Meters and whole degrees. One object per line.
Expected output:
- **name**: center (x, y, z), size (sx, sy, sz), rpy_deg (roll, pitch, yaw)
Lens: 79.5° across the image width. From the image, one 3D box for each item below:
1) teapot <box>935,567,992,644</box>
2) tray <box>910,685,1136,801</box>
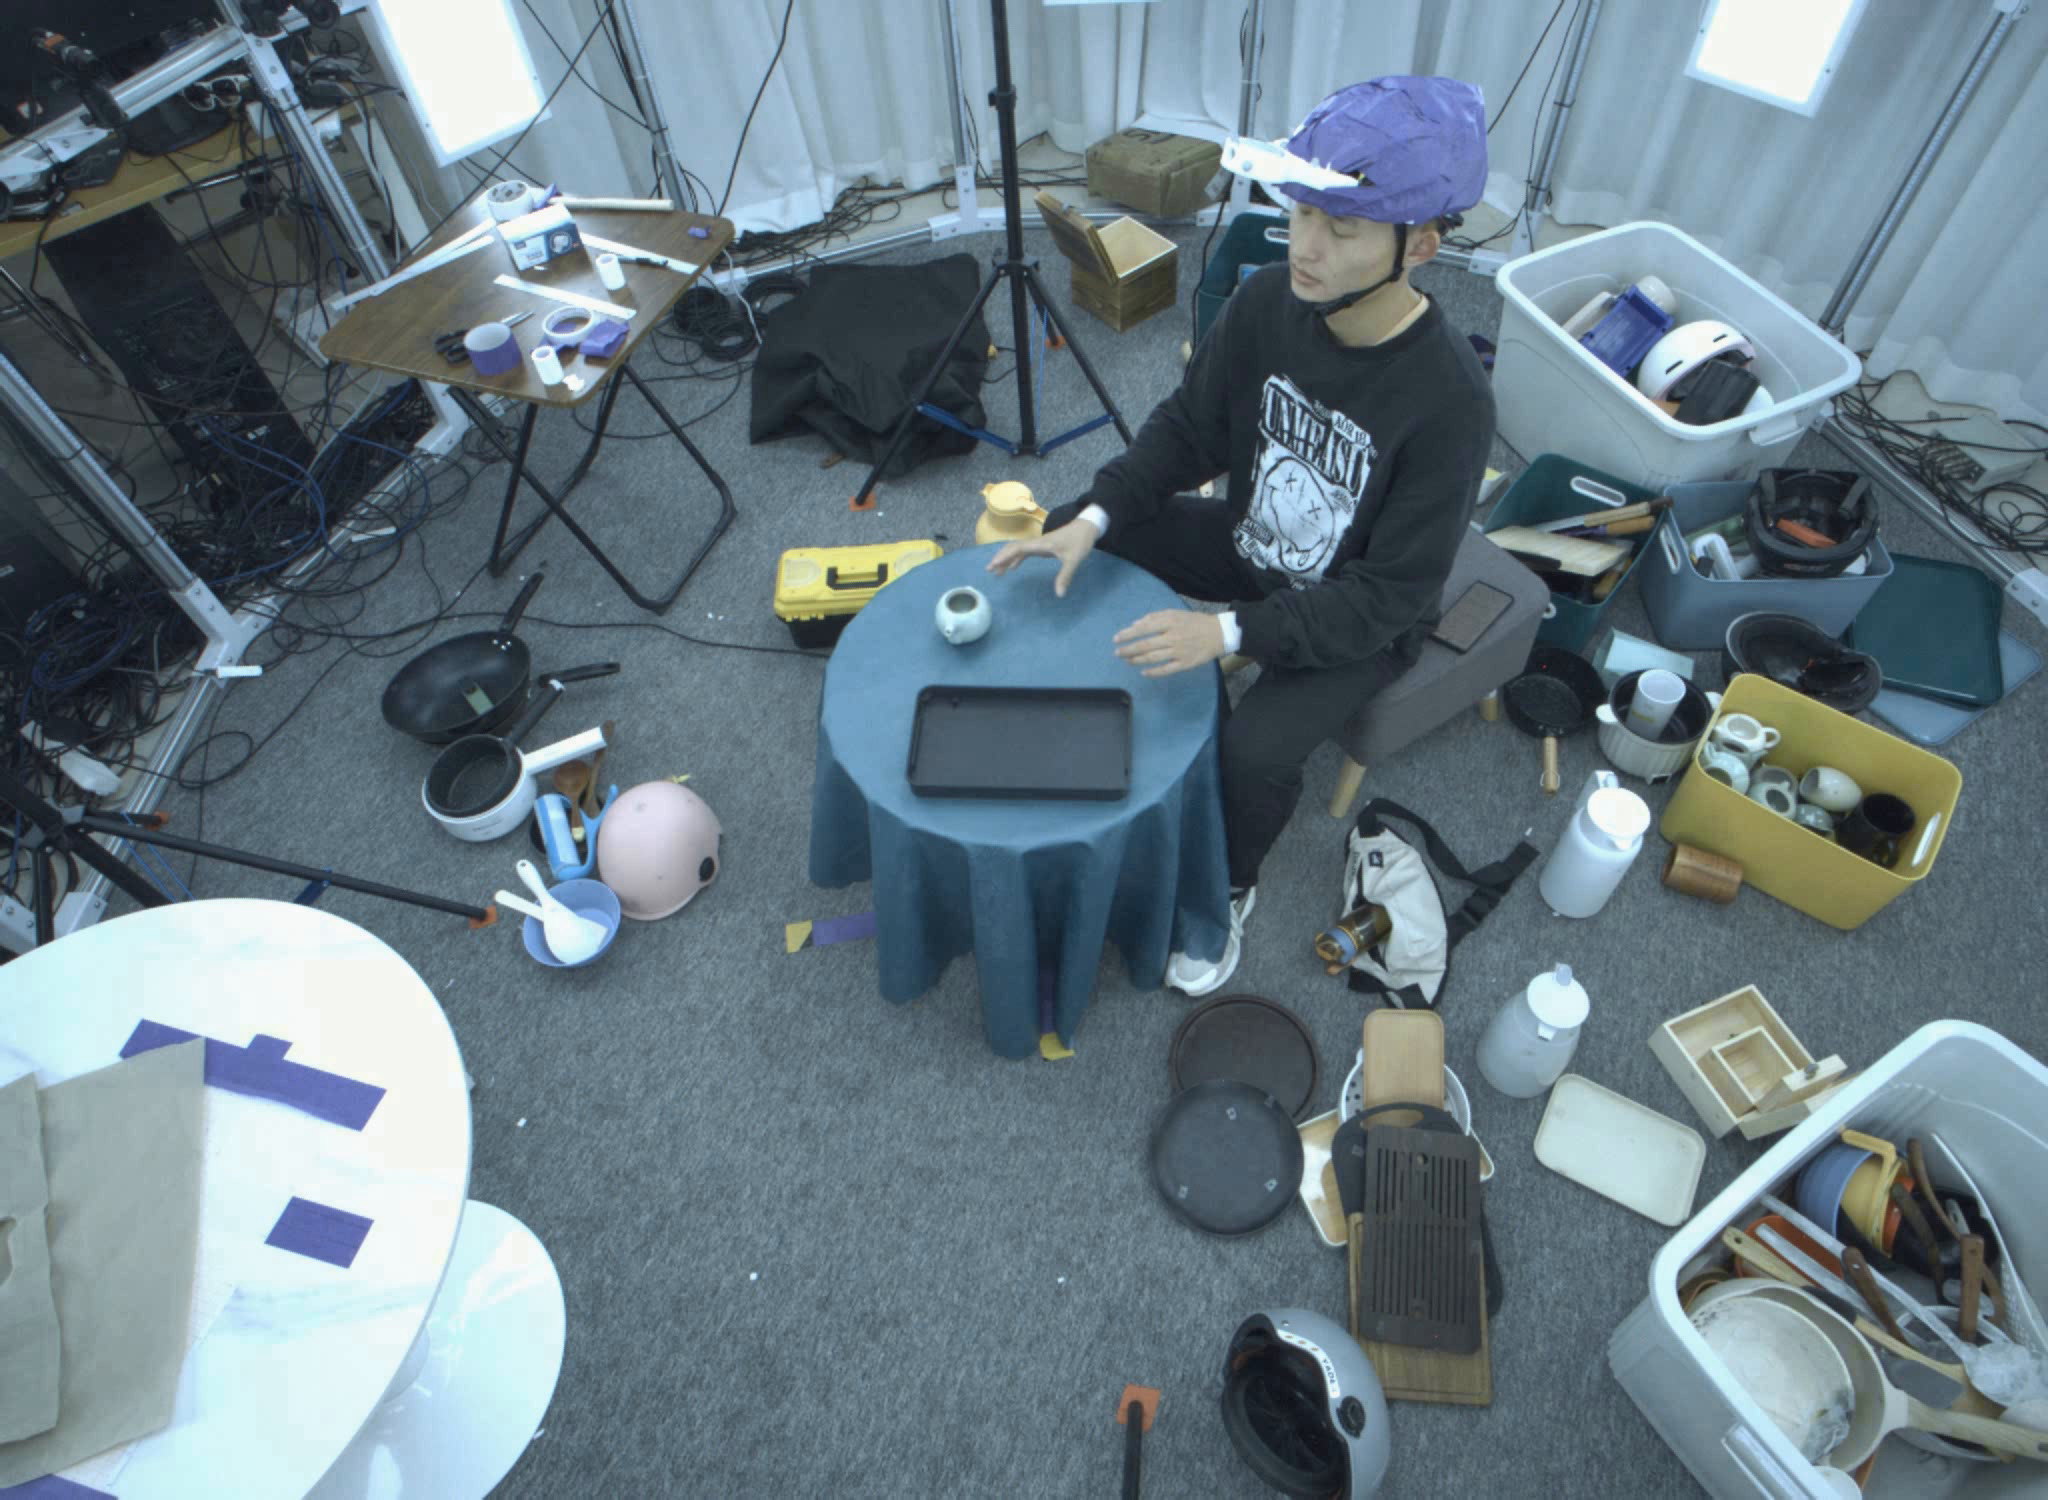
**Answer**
- **teapot**: center (-0.094, -0.209, 1.891), size (0.087, 0.075, 0.143), rpy_deg (13, 58, 12)
- **tray**: center (0.001, -0.011, 1.769), size (0.317, 0.037, 0.182), rpy_deg (-1, 54, 2)
